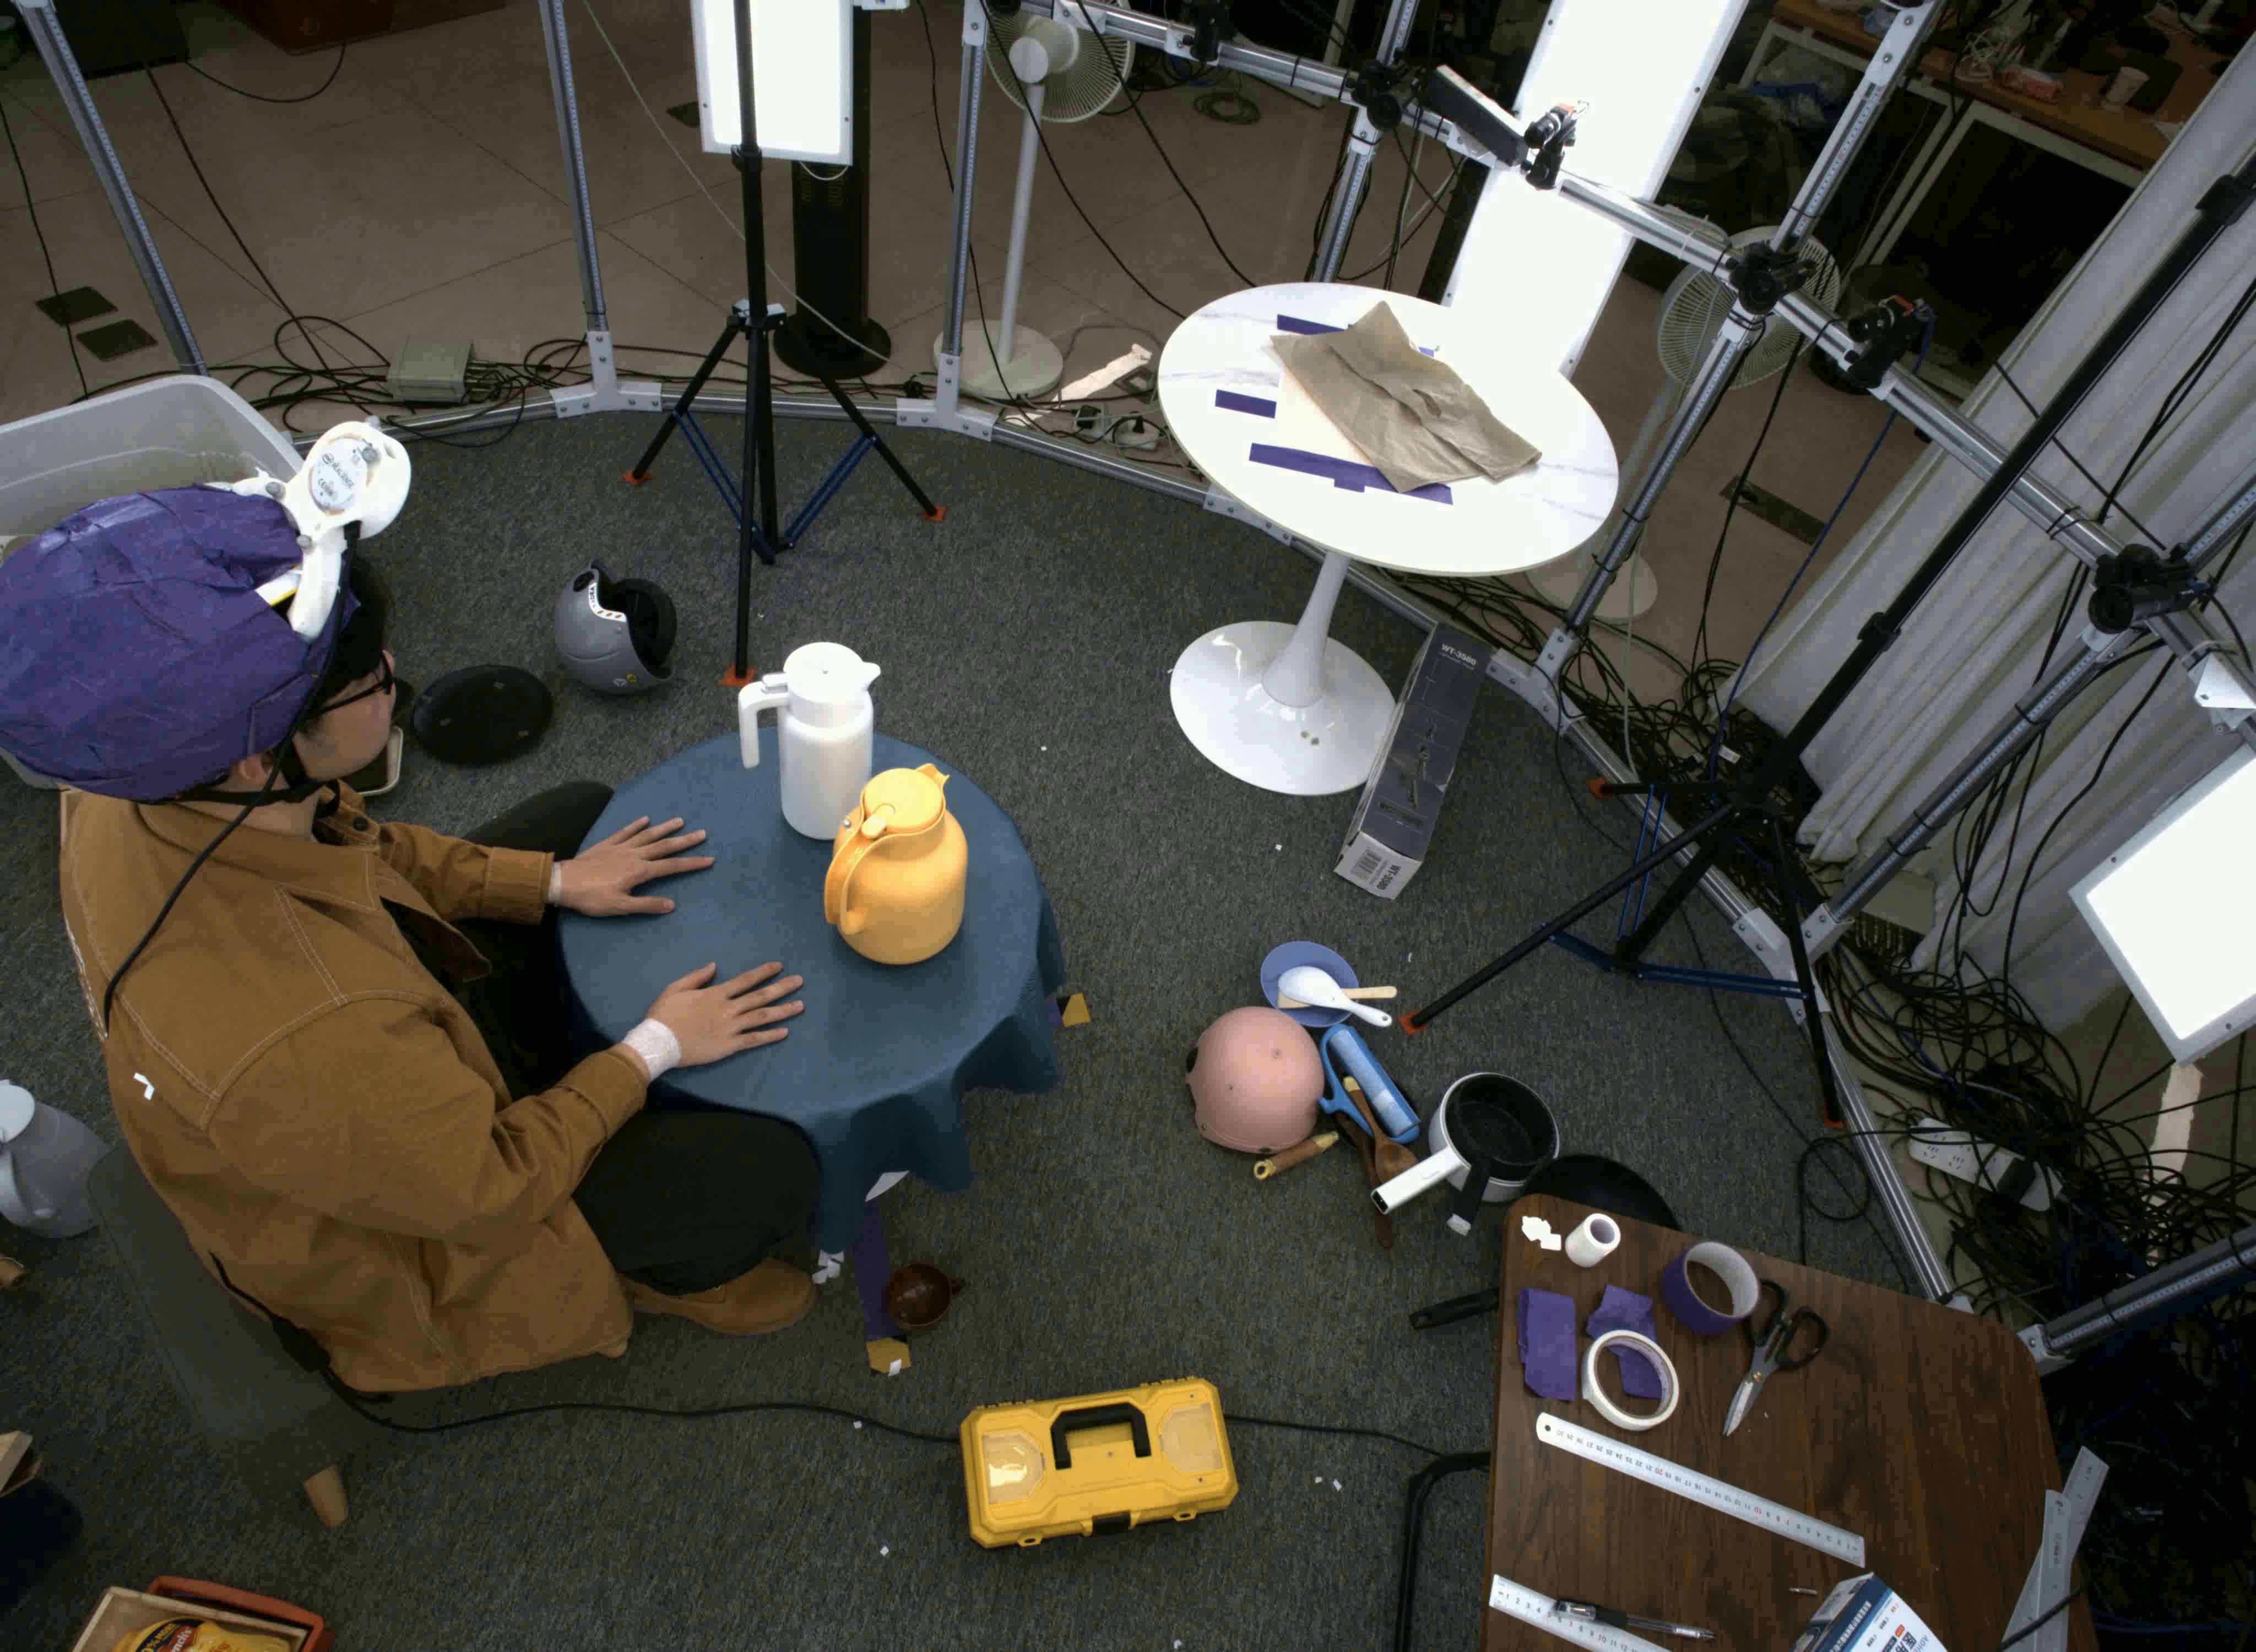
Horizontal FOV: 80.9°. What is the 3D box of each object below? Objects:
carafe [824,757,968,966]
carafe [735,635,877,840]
[{"bbox_3d":[-0.285,0.049,1.551,0.159,0.267,0.202,32,51,17],"label":"carafe"},{"bbox_3d":[-0.401,-0.104,1.632,0.173,0.274,0.121,-13,58,-21],"label":"carafe"}]
